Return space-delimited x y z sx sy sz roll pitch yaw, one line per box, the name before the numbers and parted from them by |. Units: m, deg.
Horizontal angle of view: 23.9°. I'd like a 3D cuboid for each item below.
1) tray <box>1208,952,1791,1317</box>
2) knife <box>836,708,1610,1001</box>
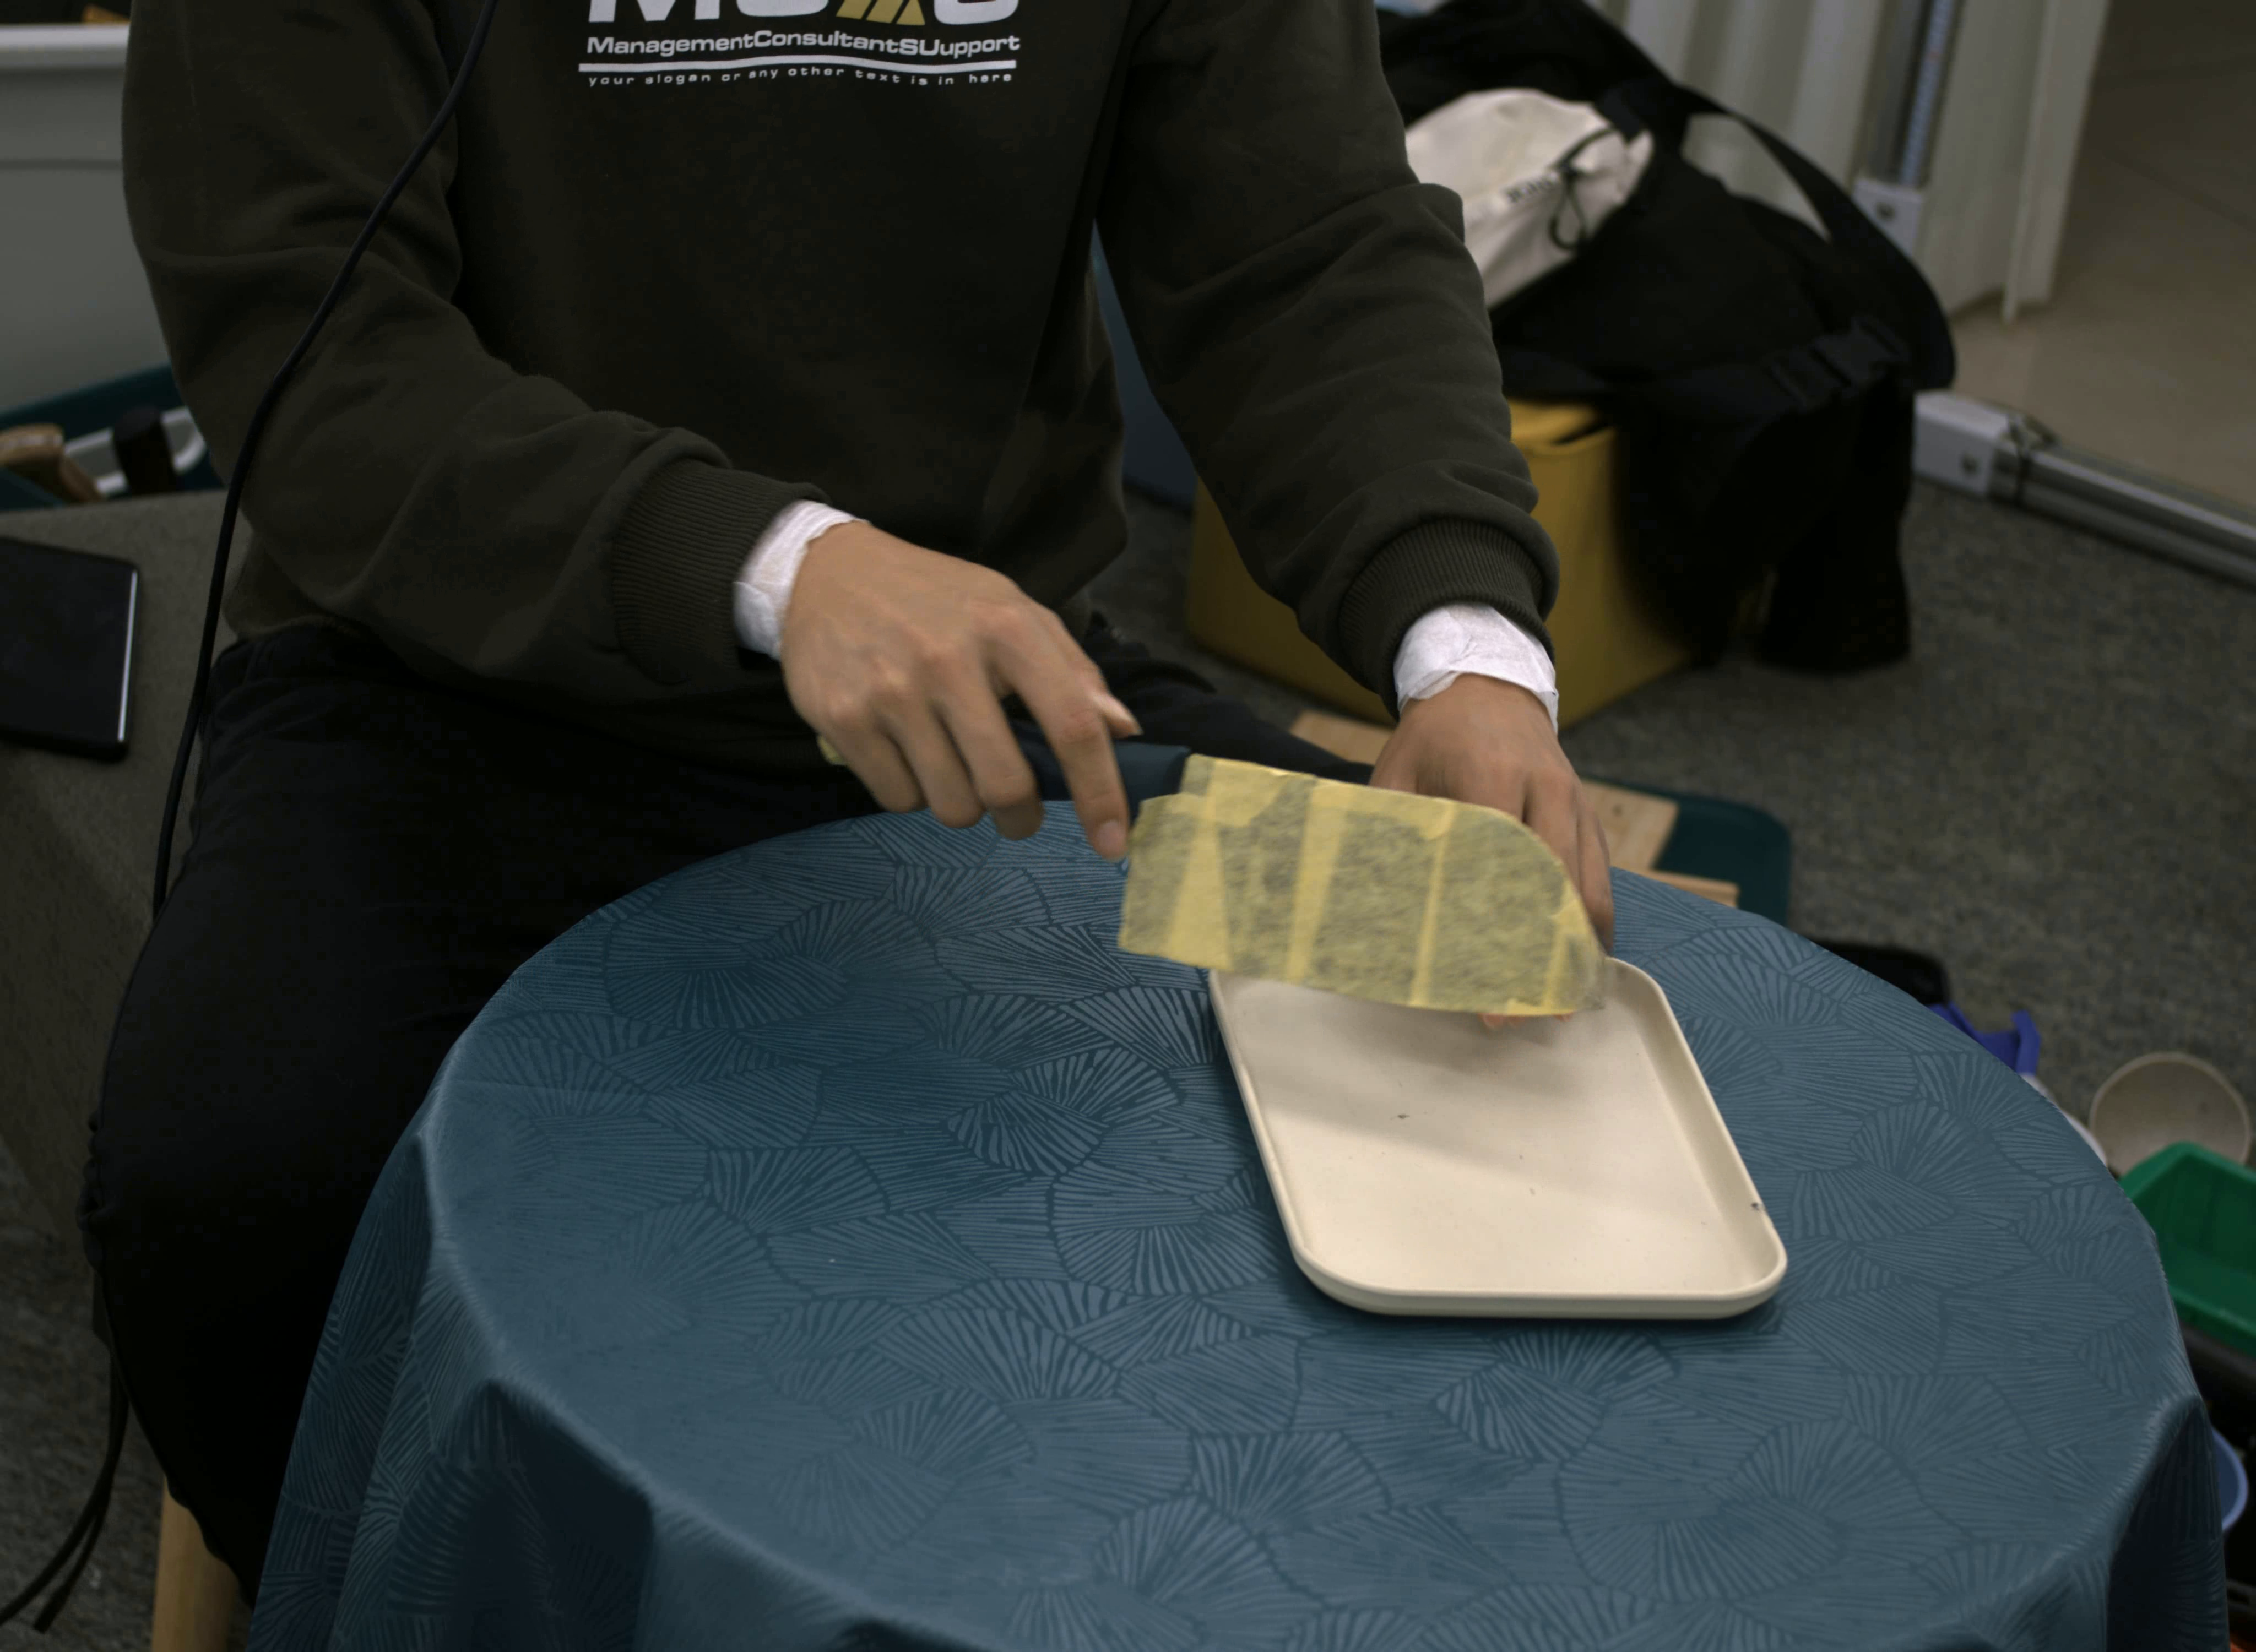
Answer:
tray | 0.124 0.105 1.850 0.170 0.017 0.241 1 27 -10
knife | 0.030 0.009 1.850 0.290 0.081 0.027 14 5 17
